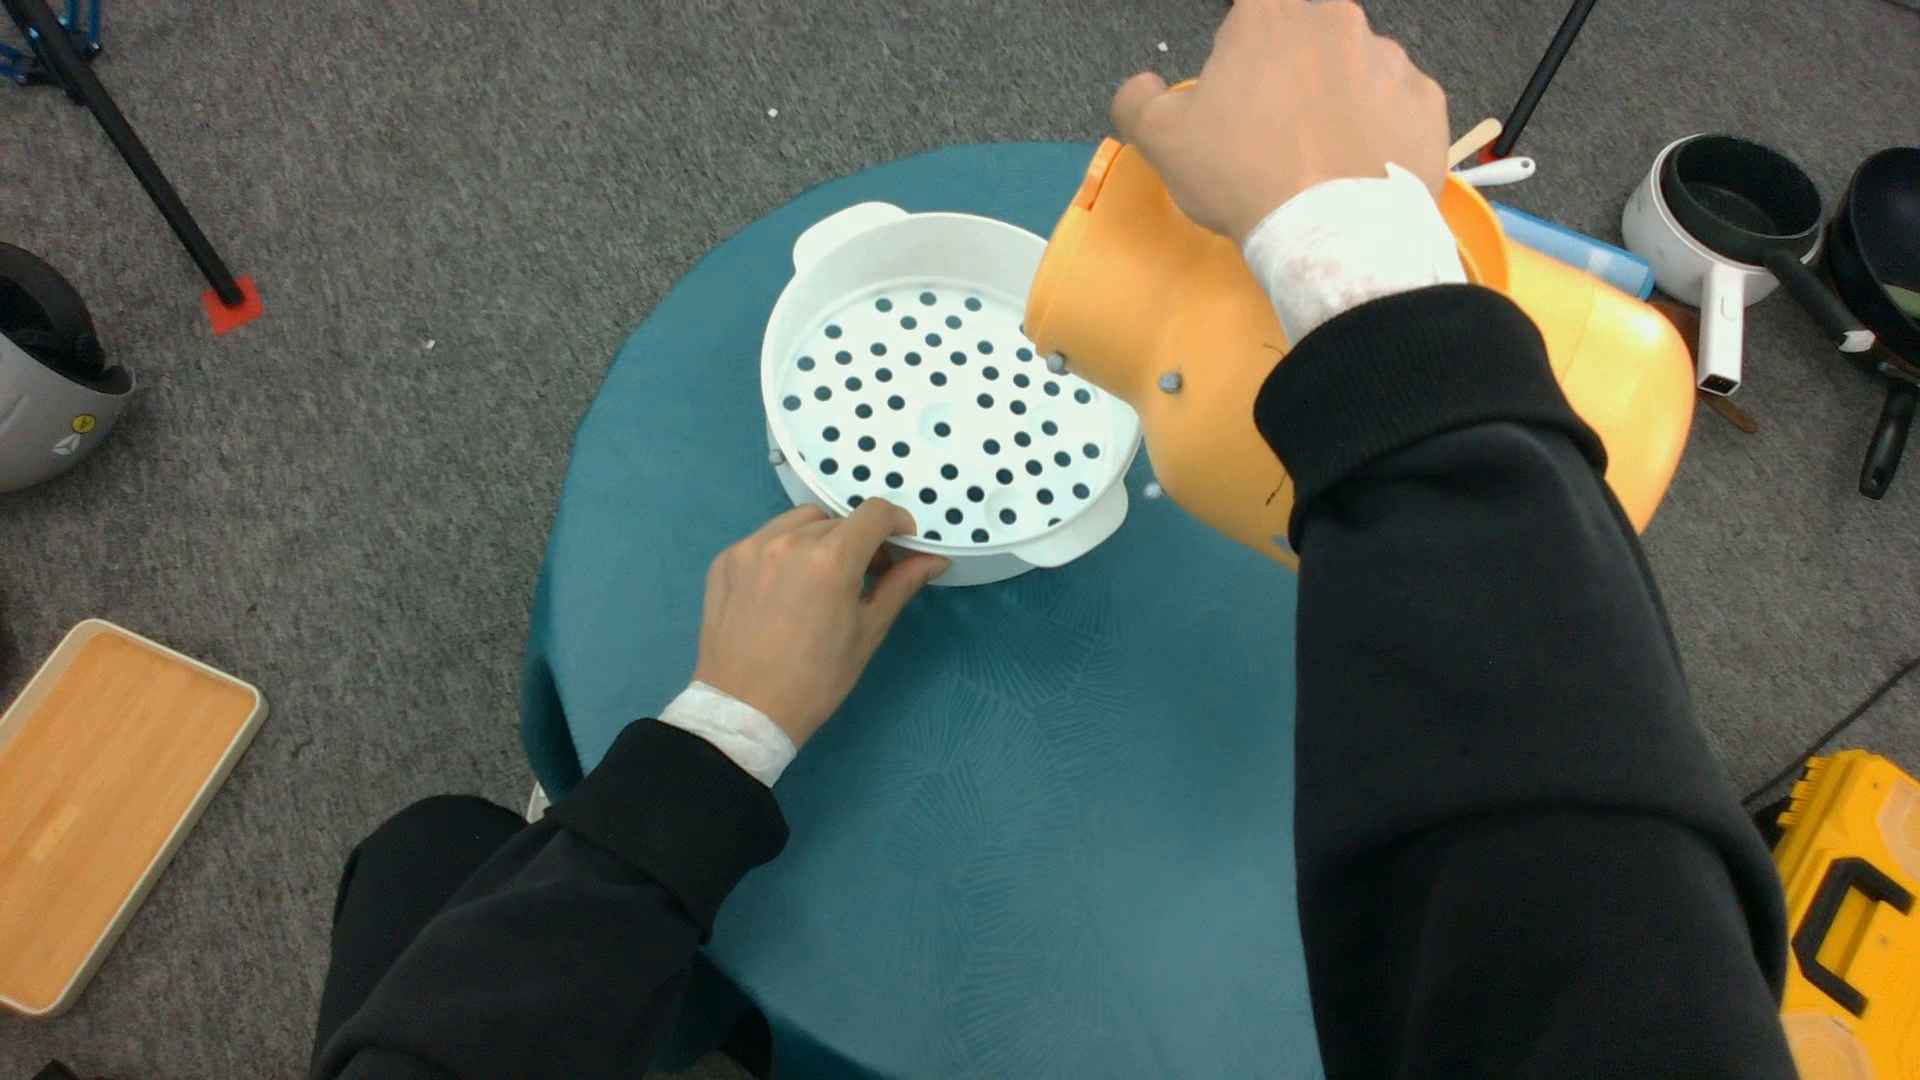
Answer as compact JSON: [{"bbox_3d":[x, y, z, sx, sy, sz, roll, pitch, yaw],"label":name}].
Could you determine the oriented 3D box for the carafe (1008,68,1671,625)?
[{"bbox_3d":[0.151,-0.088,0.575,0.260,0.201,0.164,25,69,6],"label":"carafe"}]

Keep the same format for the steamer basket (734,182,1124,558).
[{"bbox_3d":[-0.017,-0.087,0.730,0.202,0.069,0.231,-33,72,-21],"label":"steamer basket"}]
